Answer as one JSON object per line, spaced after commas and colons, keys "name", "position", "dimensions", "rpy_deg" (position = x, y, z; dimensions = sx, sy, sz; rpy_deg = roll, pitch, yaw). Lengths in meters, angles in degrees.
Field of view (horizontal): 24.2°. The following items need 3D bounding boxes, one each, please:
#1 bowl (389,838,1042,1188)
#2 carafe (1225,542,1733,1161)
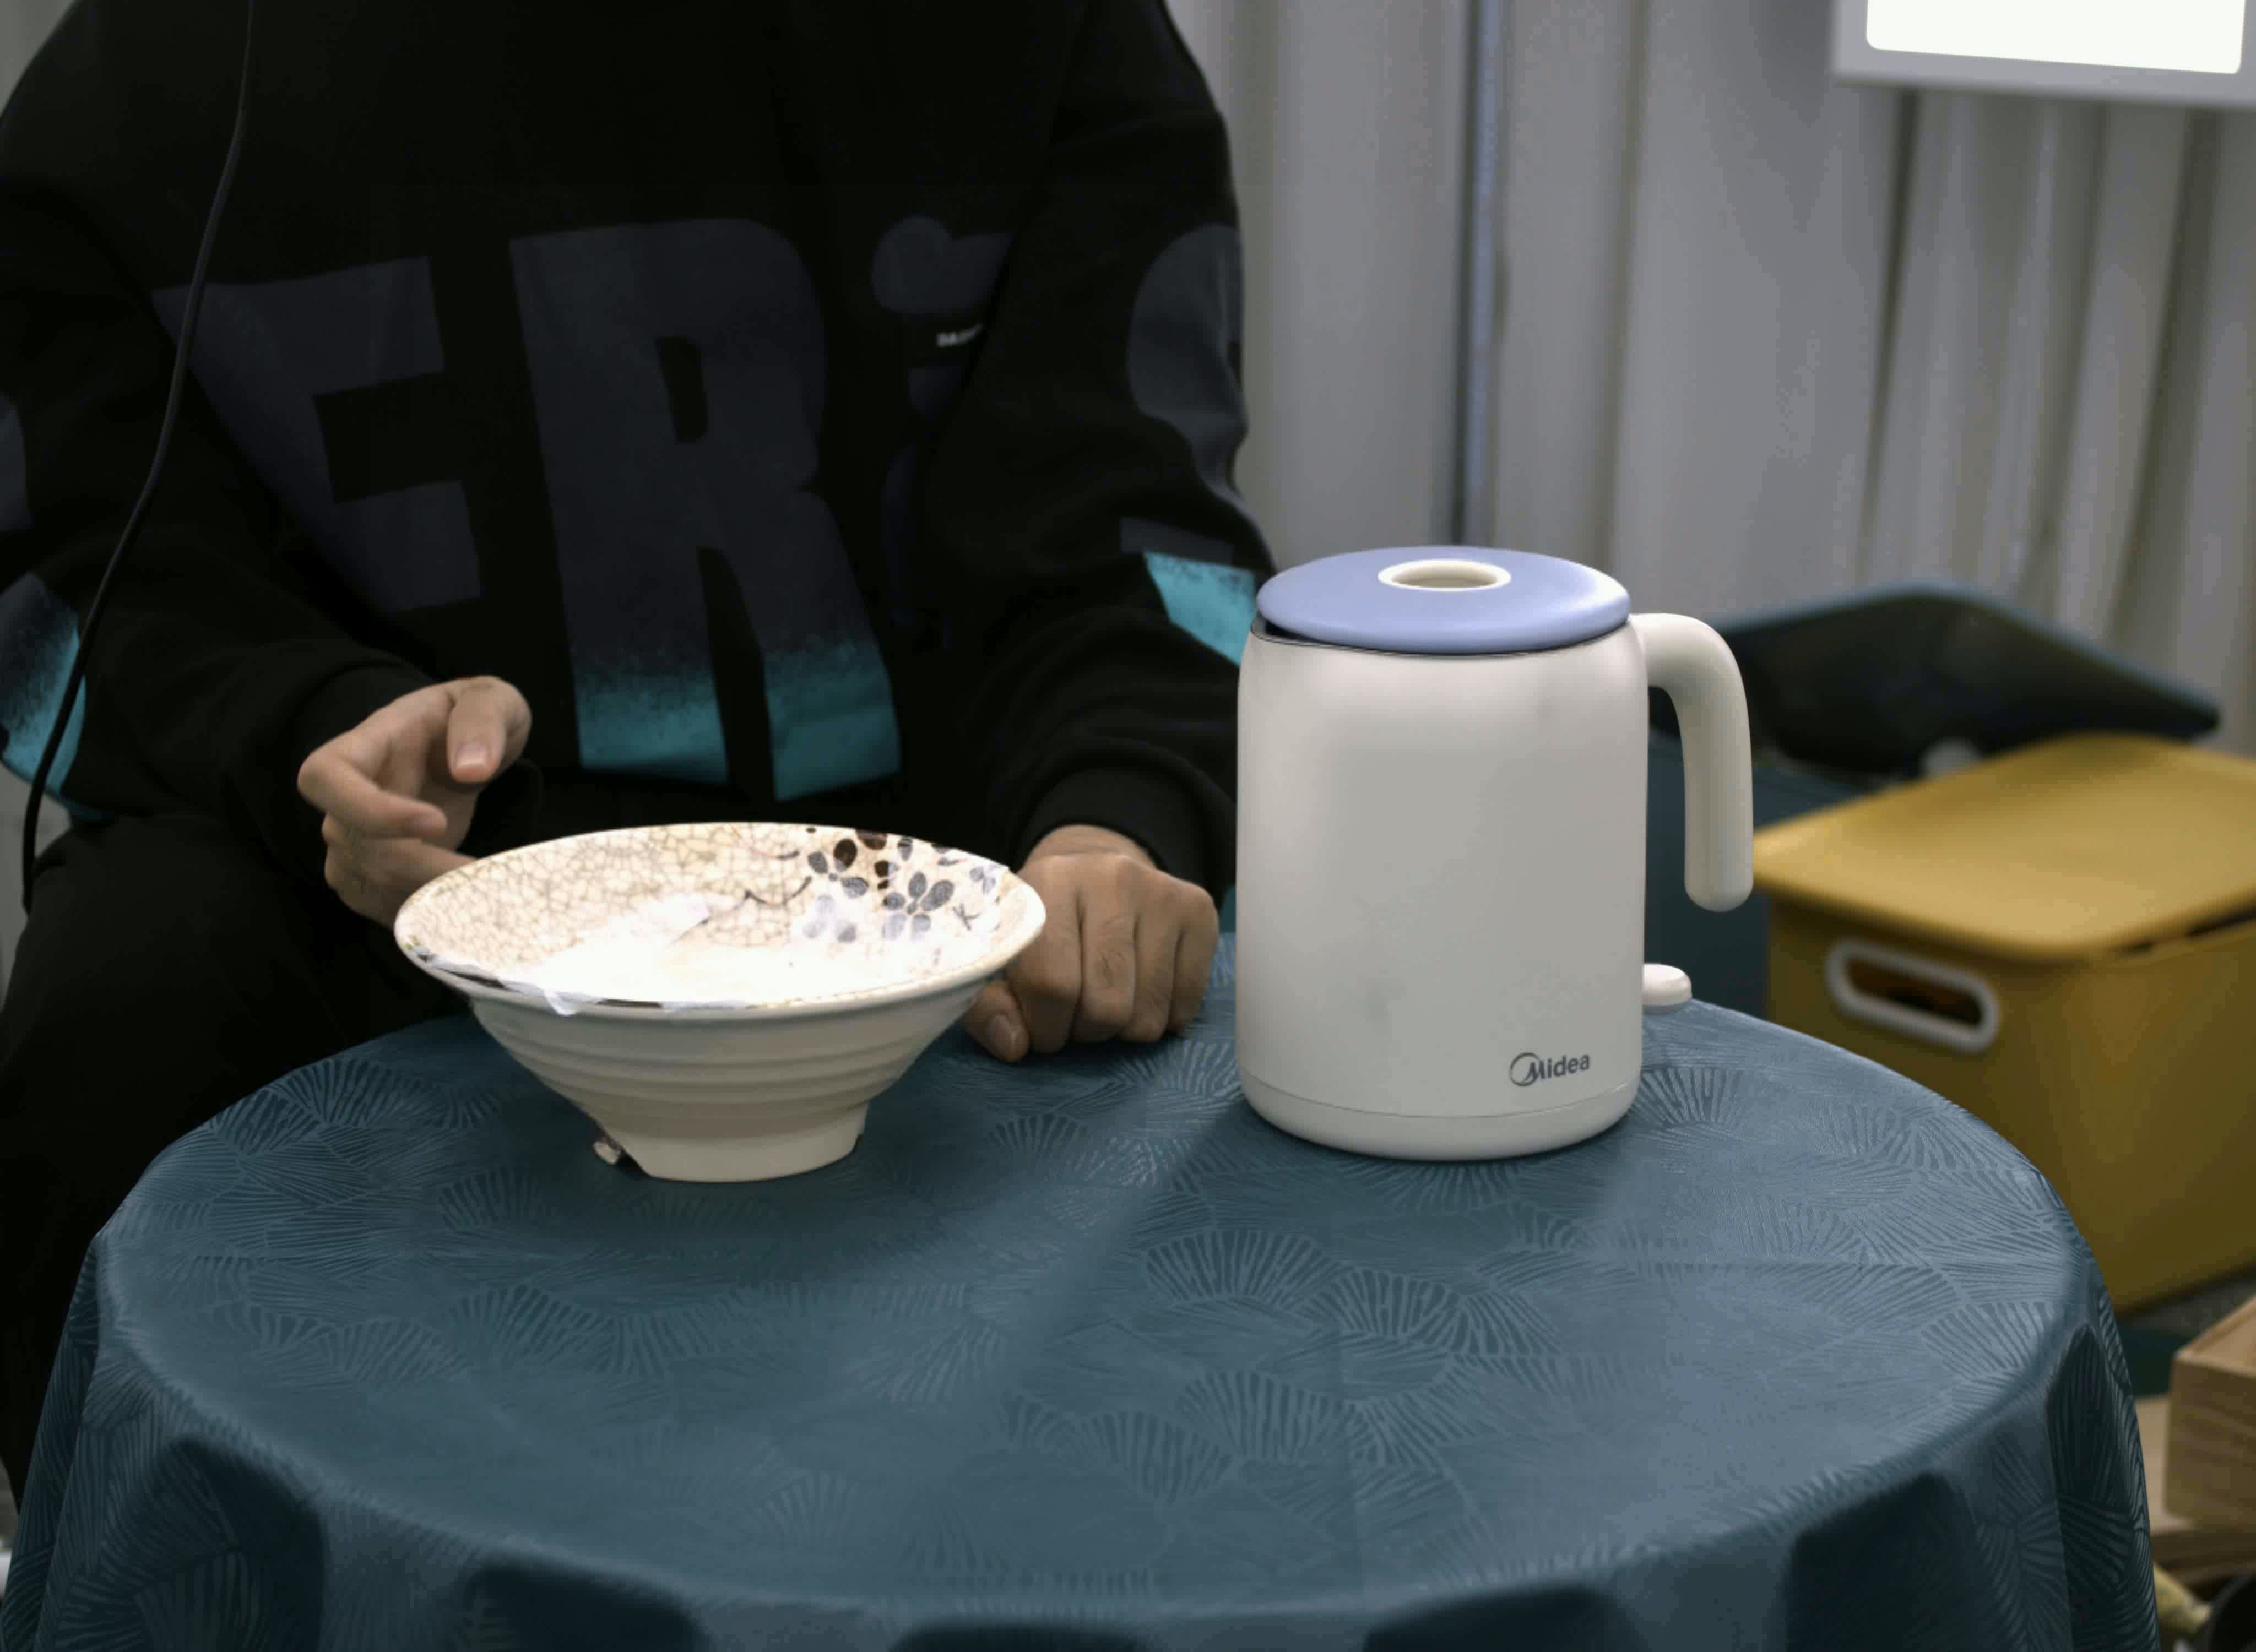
{"name": "bowl", "position": [-0.128, 0.064, 1.650], "dimensions": [0.203, 0.078, 0.203], "rpy_deg": [1, 13, 0]}
{"name": "carafe", "position": [0.119, 0.005, 1.692], "dimensions": [0.192, 0.184, 0.130], "rpy_deg": [-7, 18, -31]}
